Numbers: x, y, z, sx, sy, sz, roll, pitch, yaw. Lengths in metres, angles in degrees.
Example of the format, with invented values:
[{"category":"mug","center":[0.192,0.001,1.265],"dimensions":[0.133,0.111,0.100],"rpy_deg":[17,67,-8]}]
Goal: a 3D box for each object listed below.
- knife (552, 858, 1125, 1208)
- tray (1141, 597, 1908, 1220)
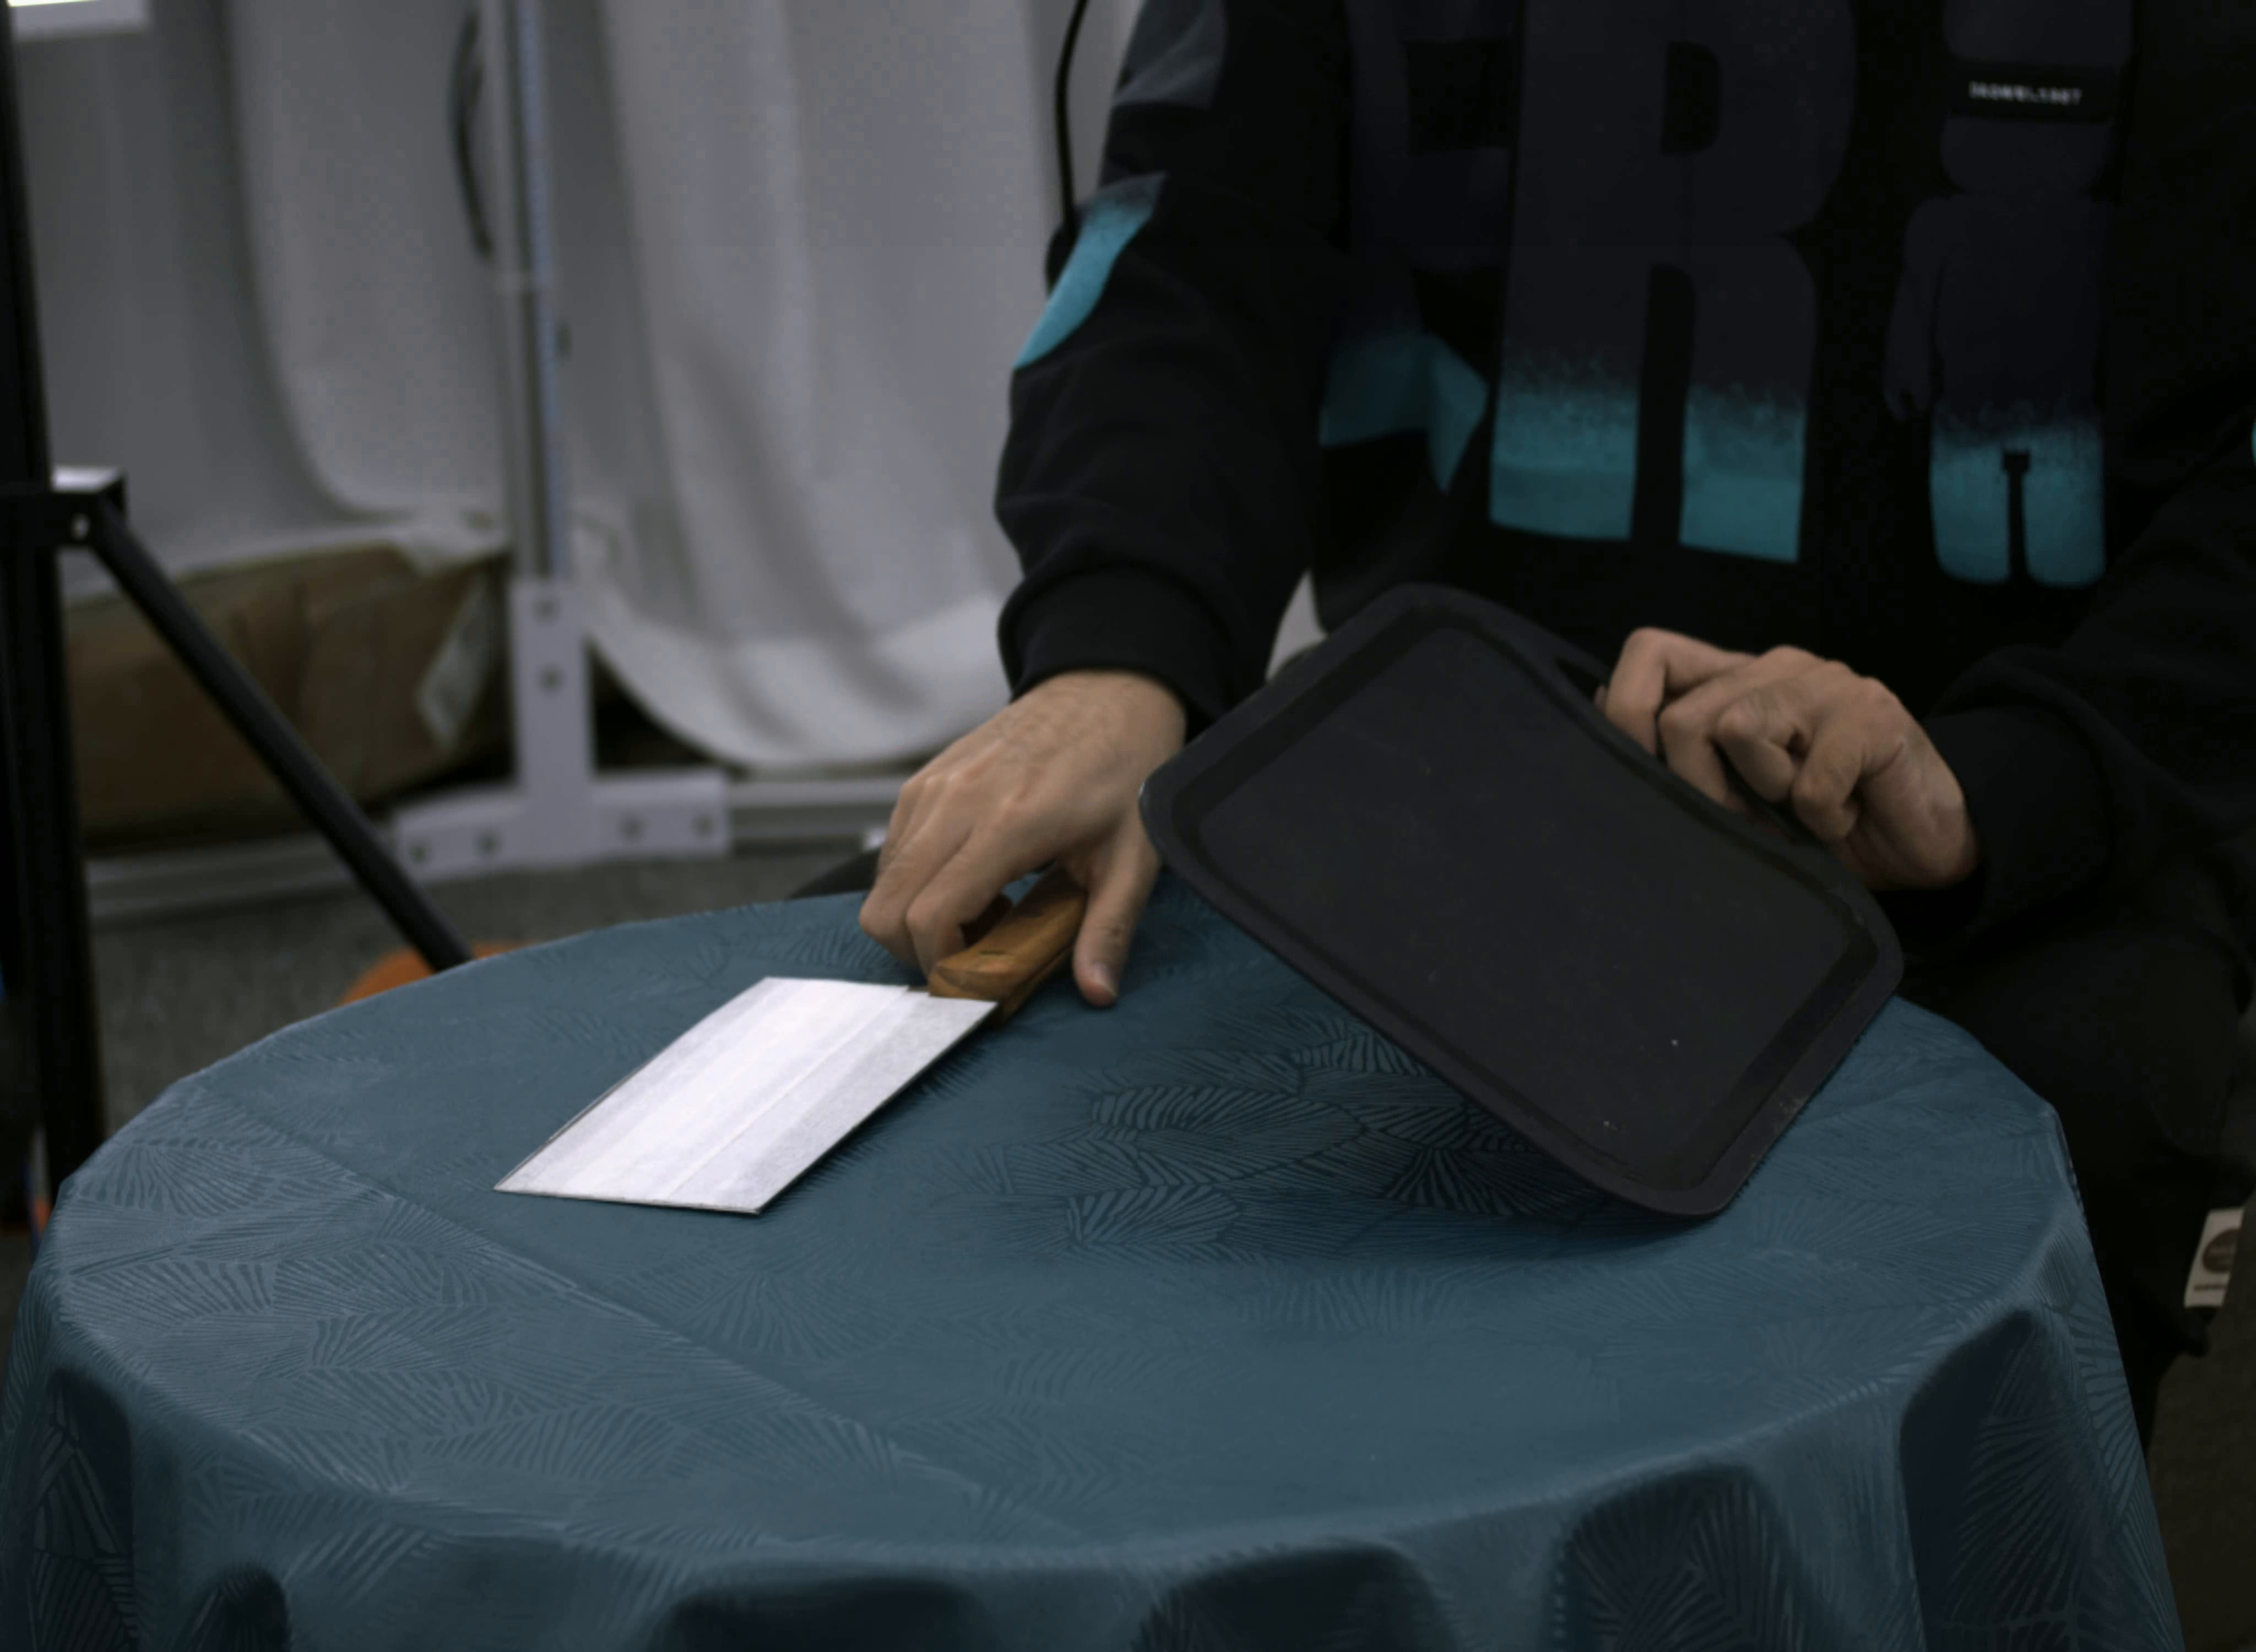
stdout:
[{"category":"knife","center":[-0.091,0.064,1.700],"dimensions":[0.094,0.021,0.302],"rpy_deg":[2,19,23]},{"category":"tray","center":[0.132,0.015,1.641],"dimensions":[0.212,0.010,0.321],"rpy_deg":[36,26,10]}]
